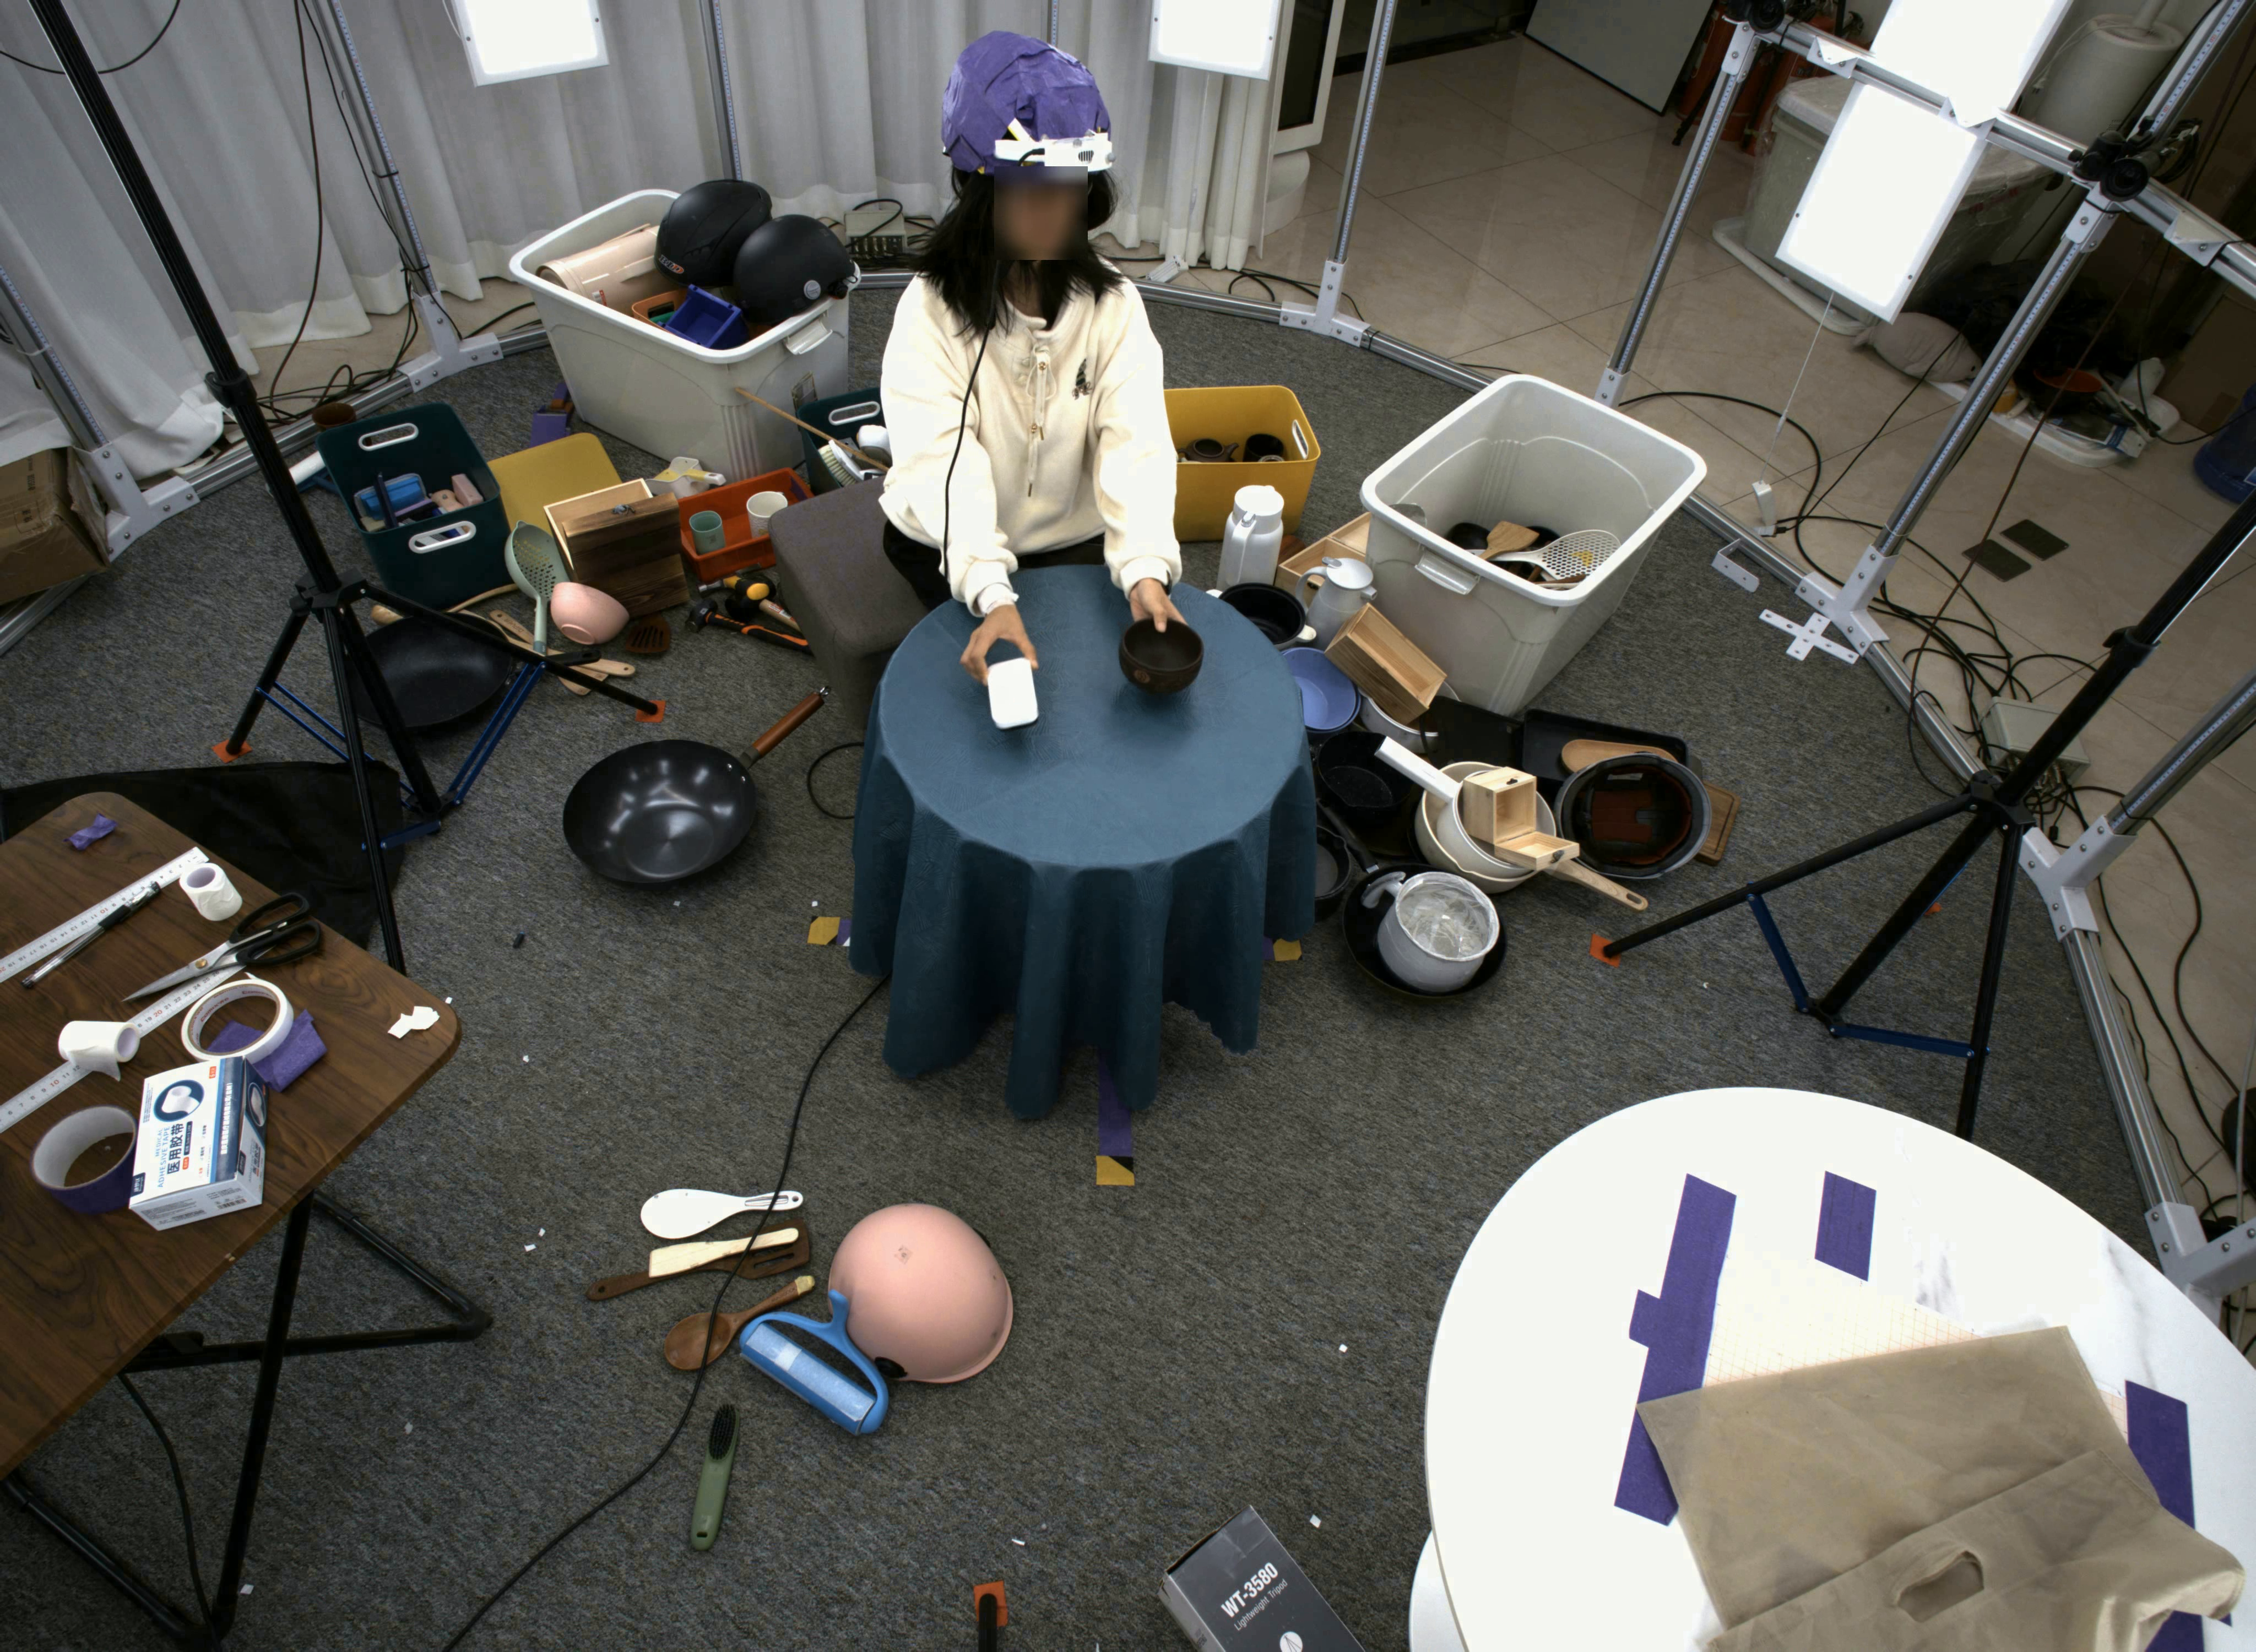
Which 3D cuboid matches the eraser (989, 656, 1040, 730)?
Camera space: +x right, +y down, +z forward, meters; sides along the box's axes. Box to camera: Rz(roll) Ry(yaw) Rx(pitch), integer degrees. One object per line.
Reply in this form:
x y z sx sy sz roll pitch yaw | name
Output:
-0.154 -0.186 1.751 0.063 0.033 0.134 -12 43 0 | eraser

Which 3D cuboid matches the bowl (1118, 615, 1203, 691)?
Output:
0.043 -0.234 1.799 0.118 0.068 0.121 5 44 -5 | bowl
